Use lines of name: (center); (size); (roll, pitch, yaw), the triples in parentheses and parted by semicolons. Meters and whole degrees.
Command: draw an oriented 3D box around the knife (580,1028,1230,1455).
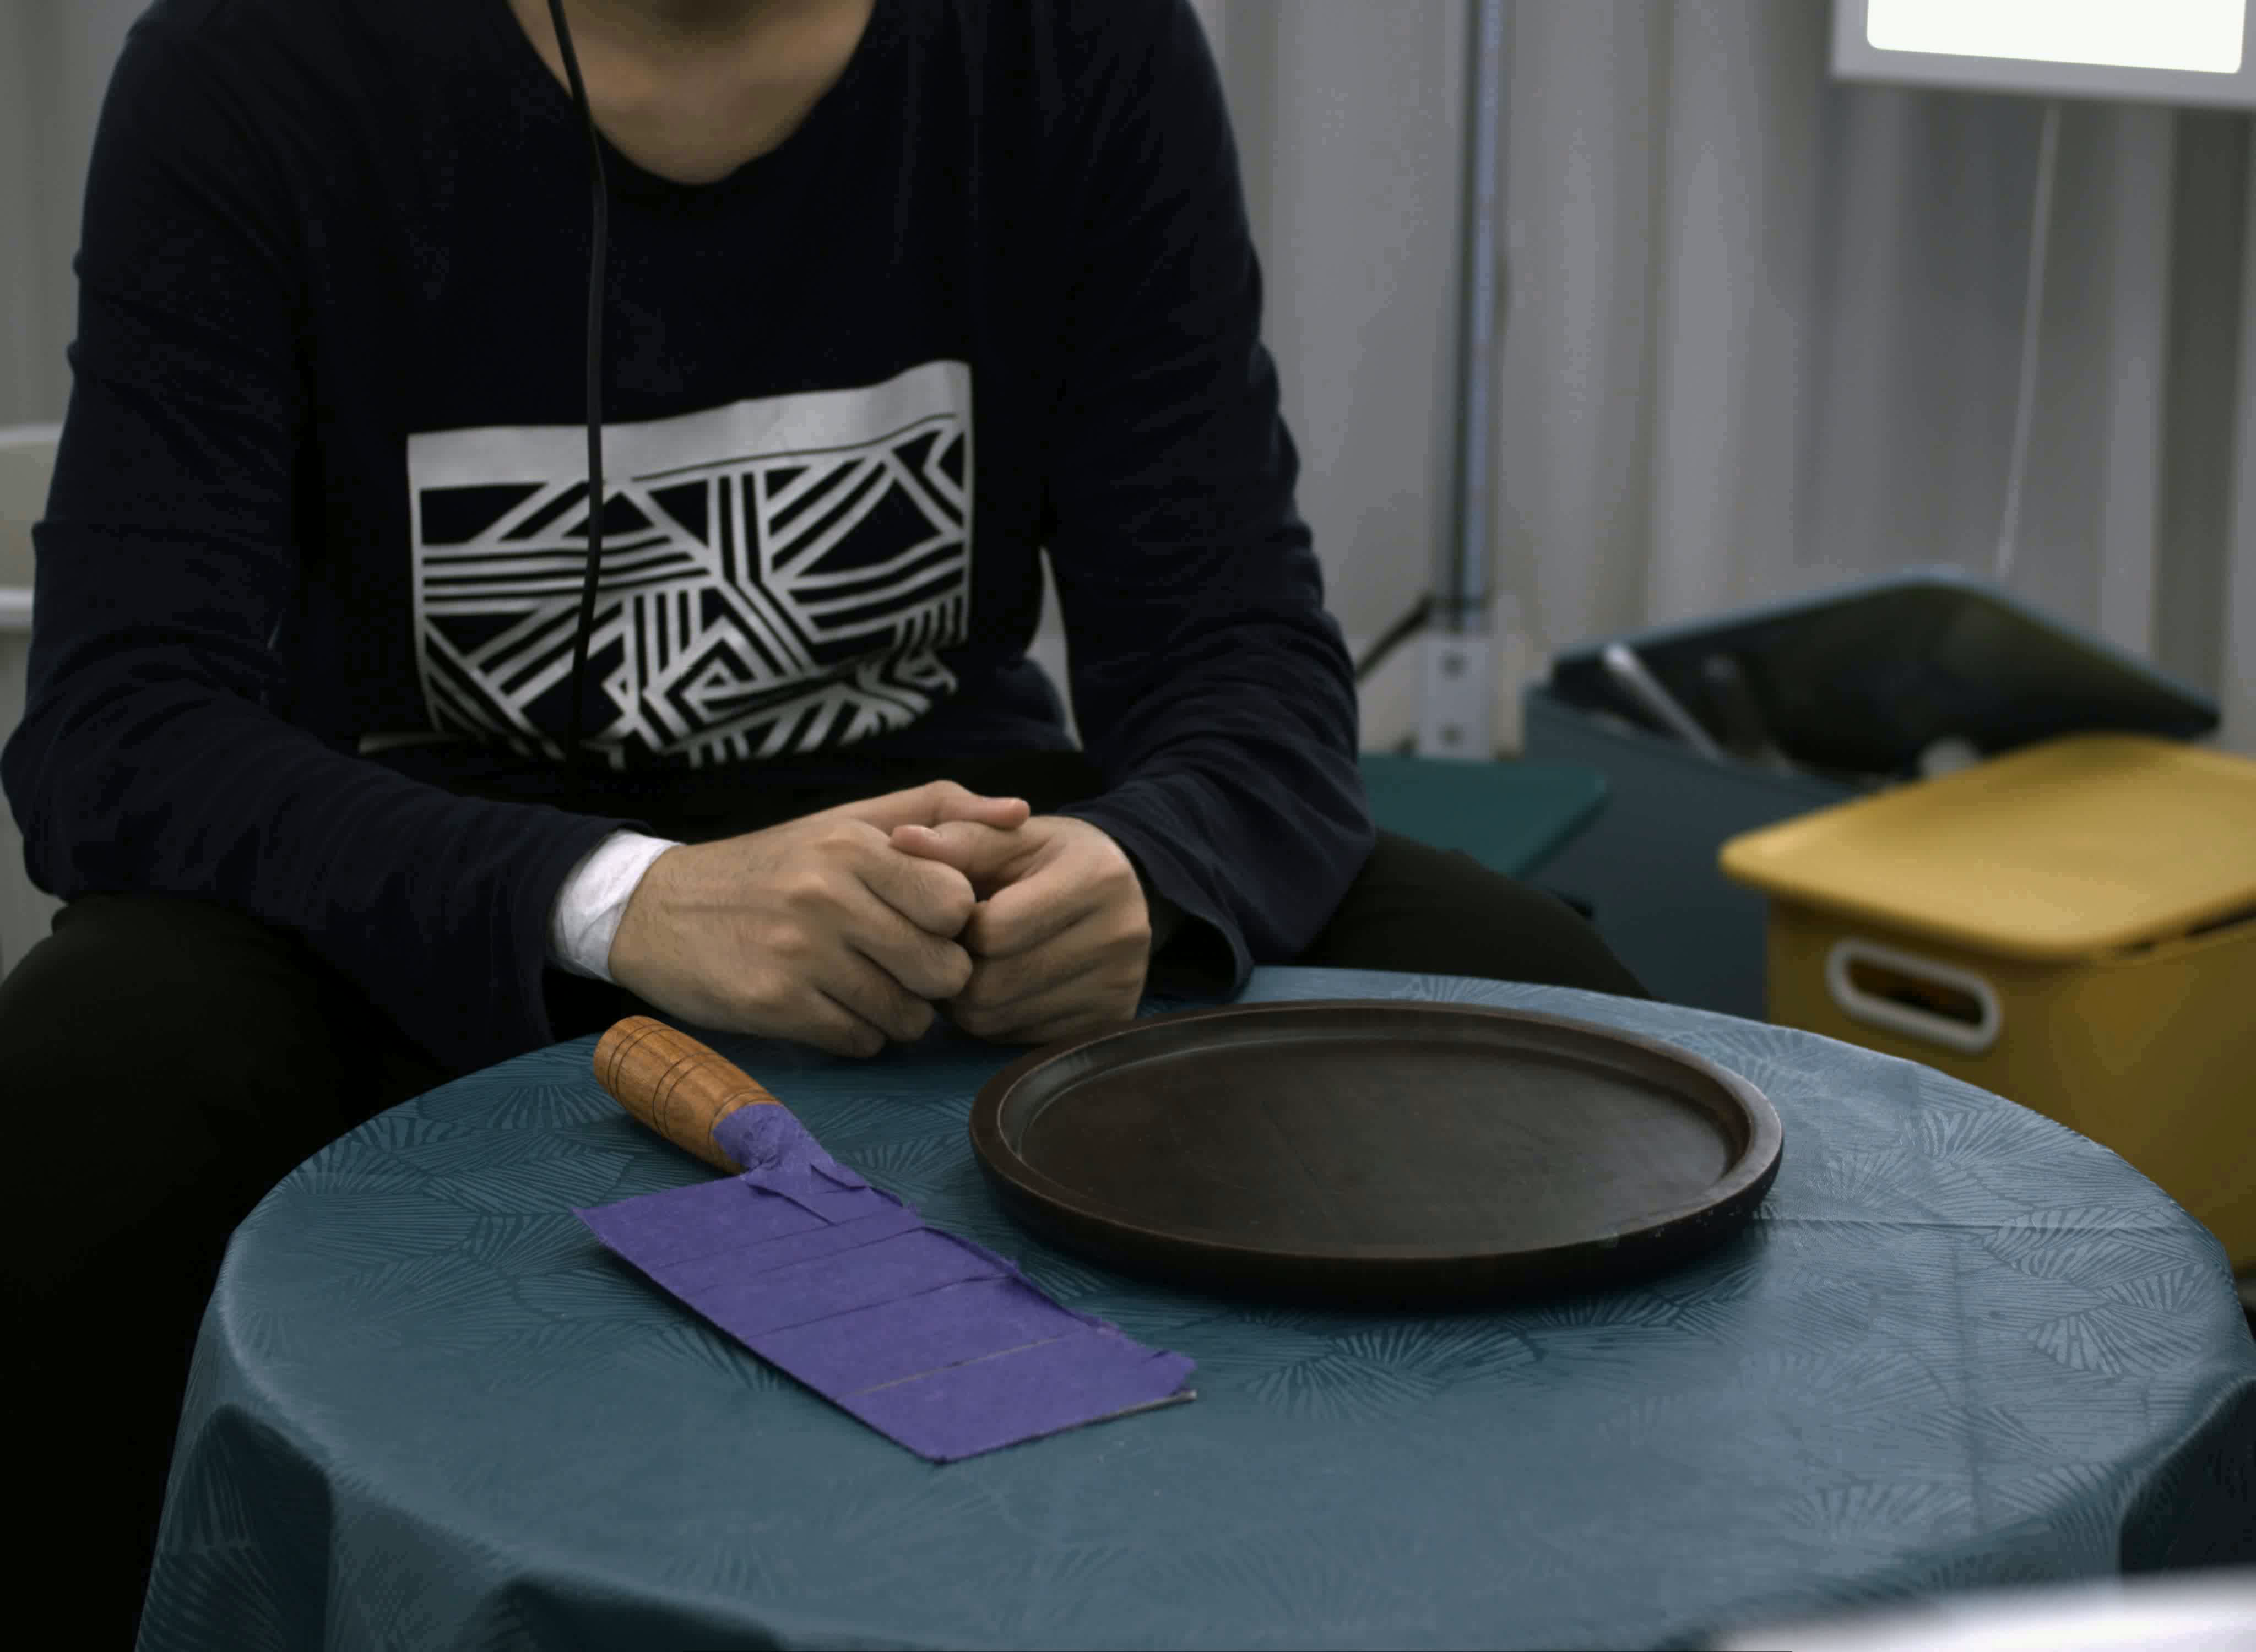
knife: (-0.100, 0.118, 1.549); (0.104, 0.032, 0.311); (-10, 19, -34)

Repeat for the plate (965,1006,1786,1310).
plate: (0.076, 0.099, 1.630); (0.254, 0.029, 0.253); (1, 16, 0)
